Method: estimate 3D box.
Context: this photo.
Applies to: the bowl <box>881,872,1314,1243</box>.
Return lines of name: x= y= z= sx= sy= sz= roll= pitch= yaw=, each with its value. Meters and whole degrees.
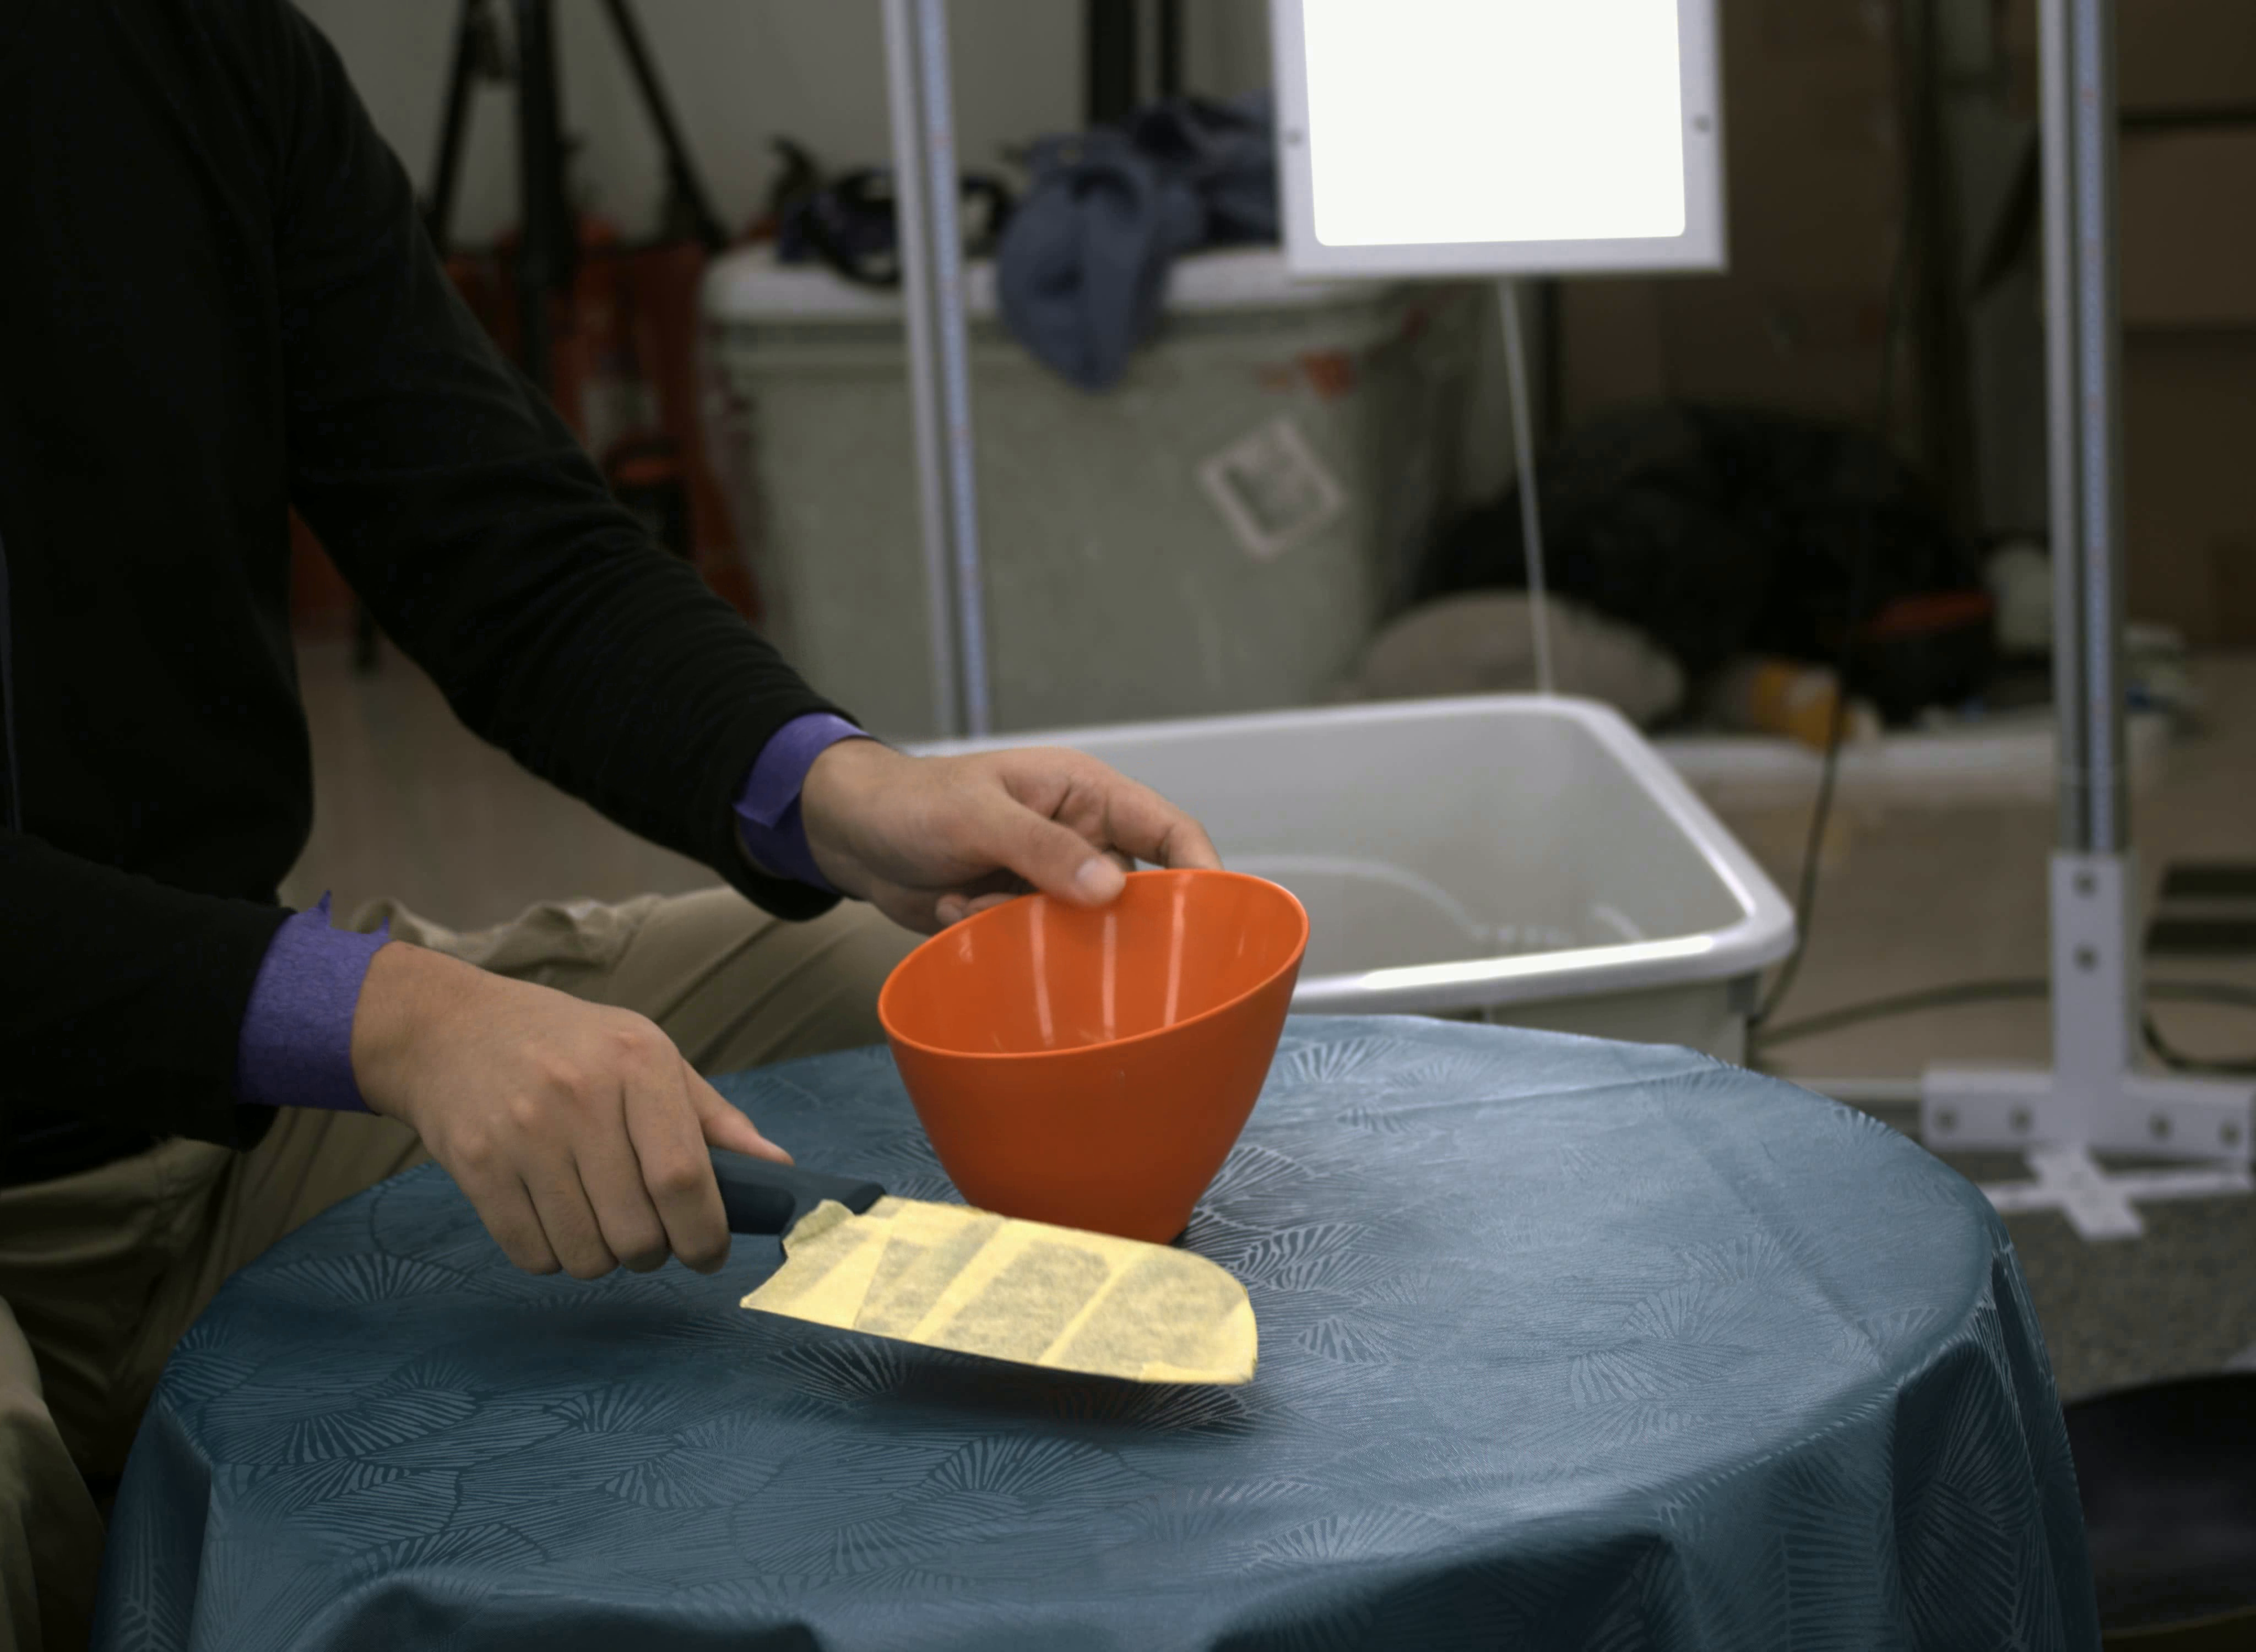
bowl: x=-0.007 y=0.085 z=1.858 sx=0.147 sy=0.105 sz=0.148 roll=-5 pitch=15 yaw=0

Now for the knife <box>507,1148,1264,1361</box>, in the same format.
knife: x=-0.084 y=0.136 z=1.737 sx=0.295 sy=0.027 sz=0.079 roll=7 pitch=30 yaw=32
